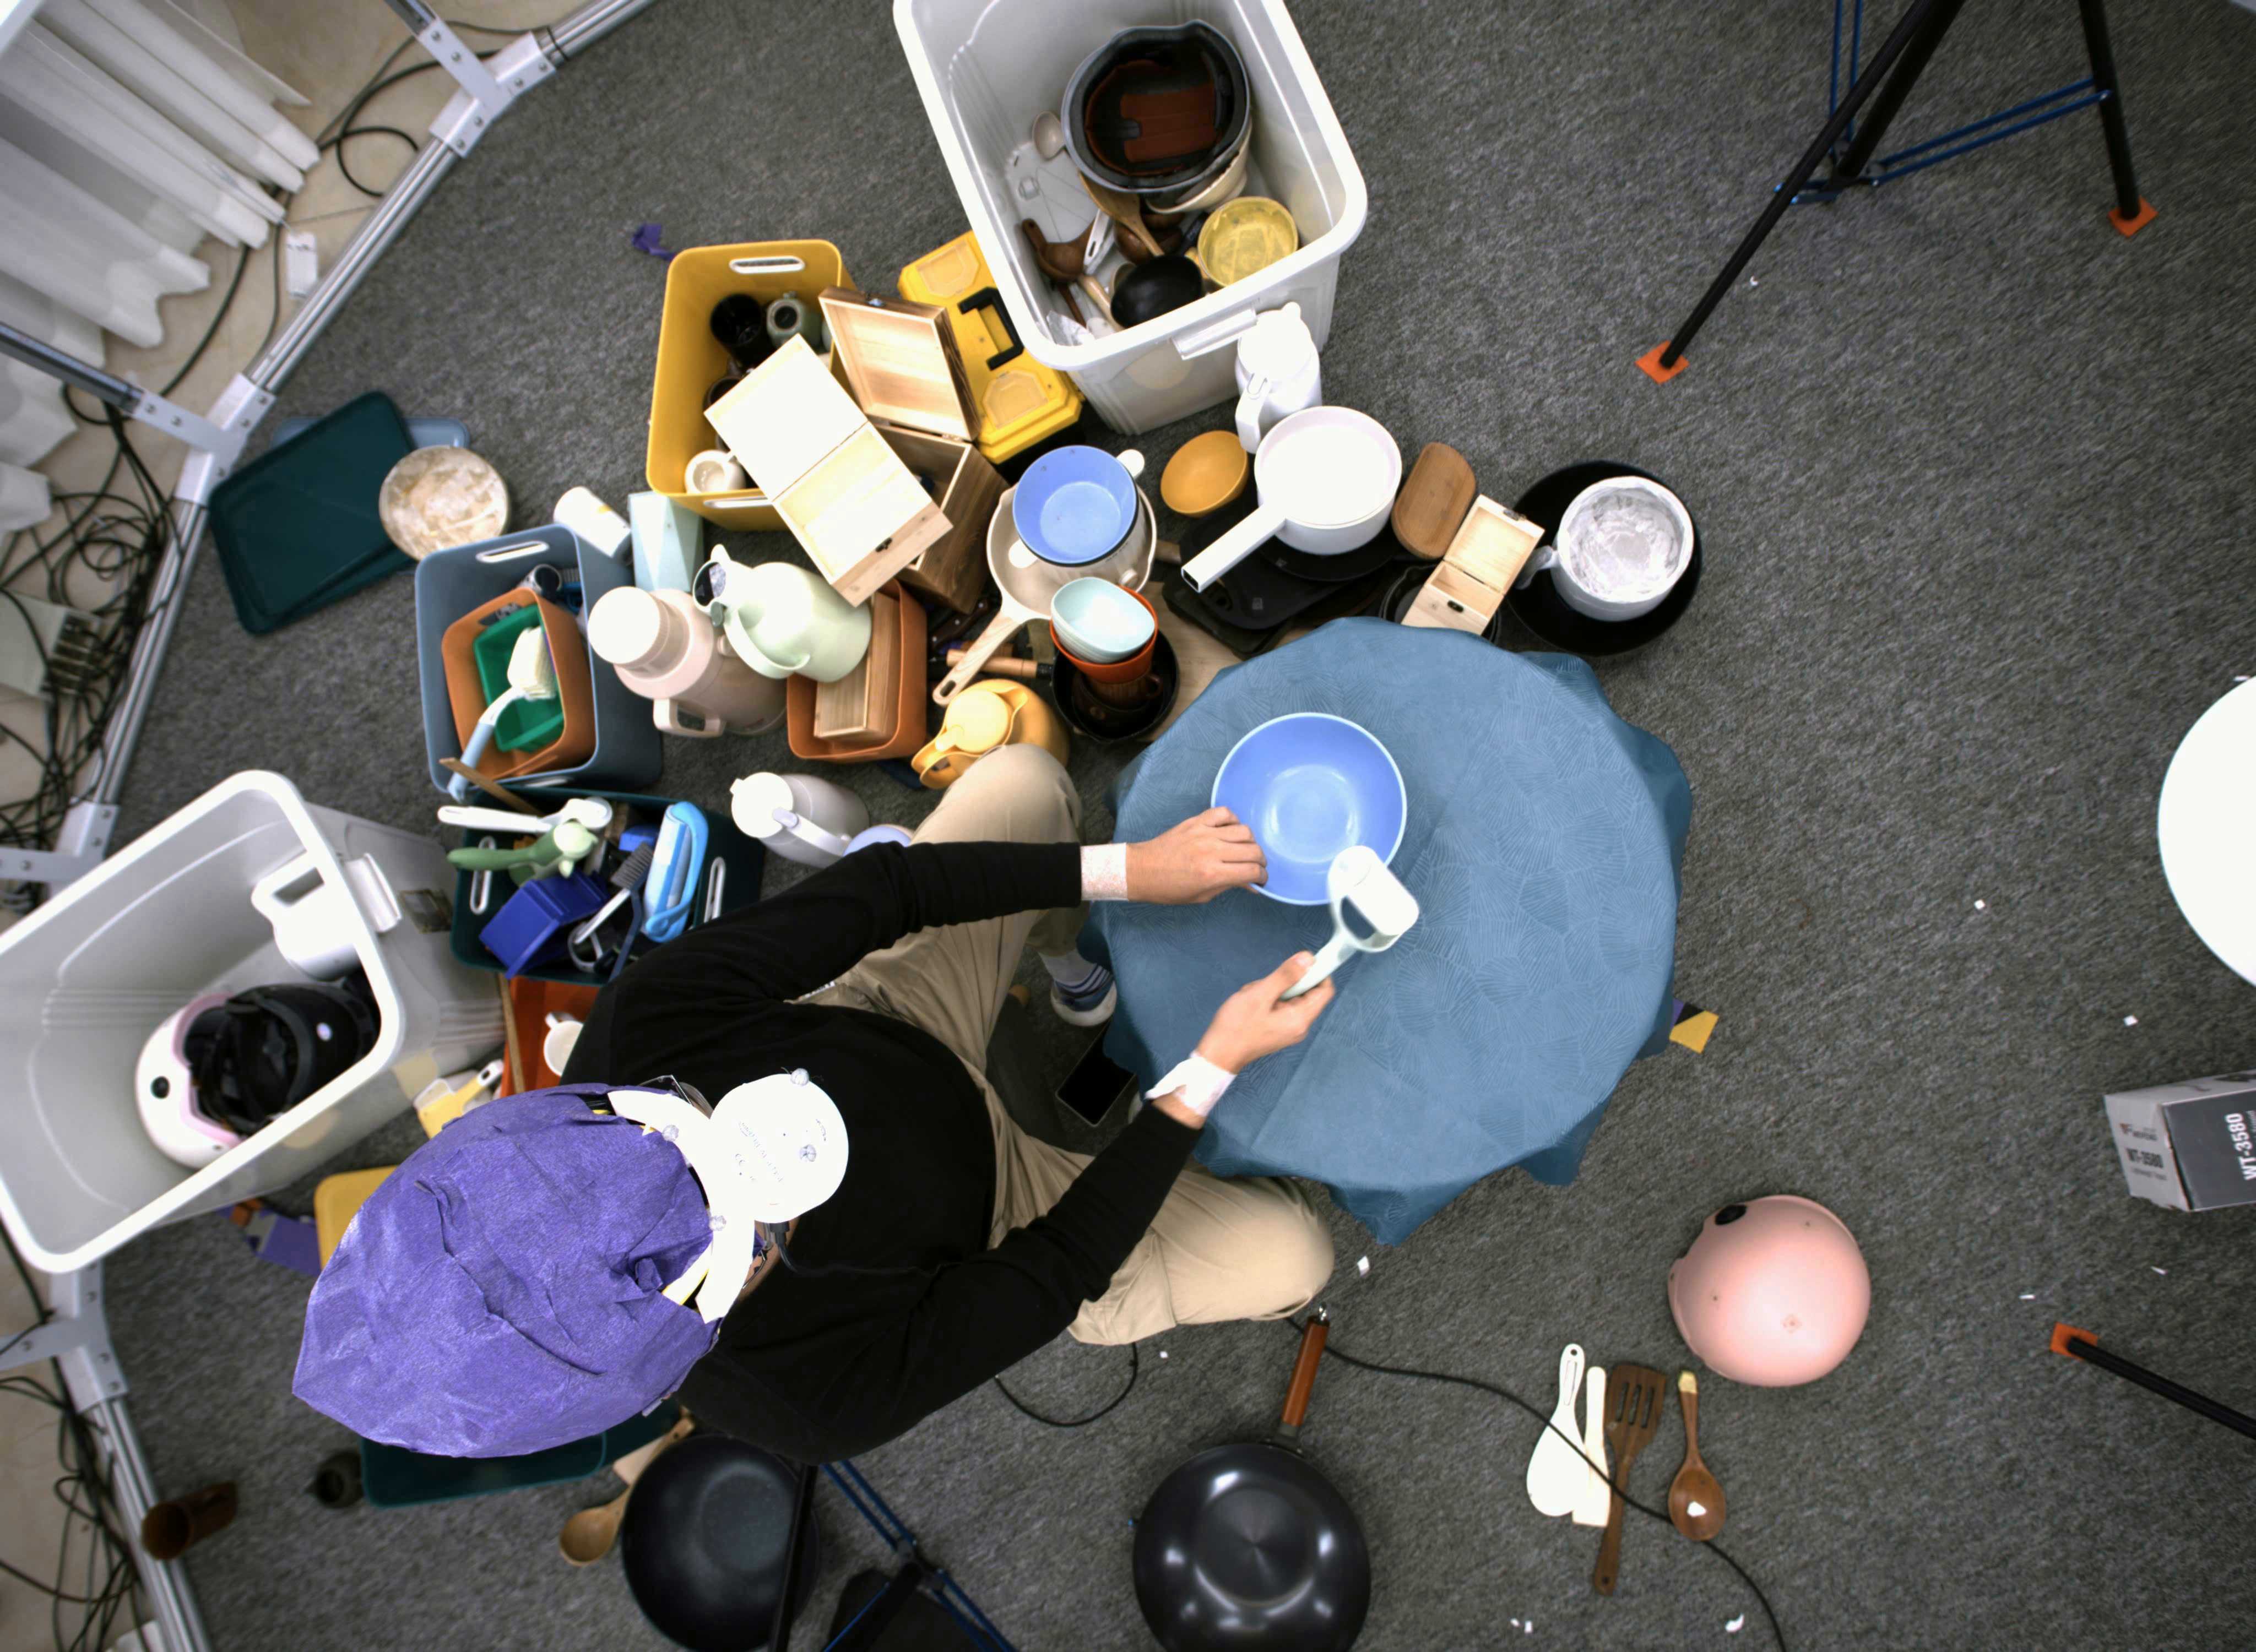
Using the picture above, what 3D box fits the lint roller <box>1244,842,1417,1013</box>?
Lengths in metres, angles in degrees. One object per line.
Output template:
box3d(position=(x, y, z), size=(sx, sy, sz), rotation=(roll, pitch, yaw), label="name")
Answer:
box3d(position=(0.189, 0.112, 1.344), size=(0.198, 0.118, 0.048), rotation=(-48, 45, 3), label="lint roller")

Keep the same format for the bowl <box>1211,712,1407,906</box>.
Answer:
box3d(position=(0.188, -0.014, 1.431), size=(0.197, 0.095, 0.195), rotation=(-1, 86, 9), label="bowl")
